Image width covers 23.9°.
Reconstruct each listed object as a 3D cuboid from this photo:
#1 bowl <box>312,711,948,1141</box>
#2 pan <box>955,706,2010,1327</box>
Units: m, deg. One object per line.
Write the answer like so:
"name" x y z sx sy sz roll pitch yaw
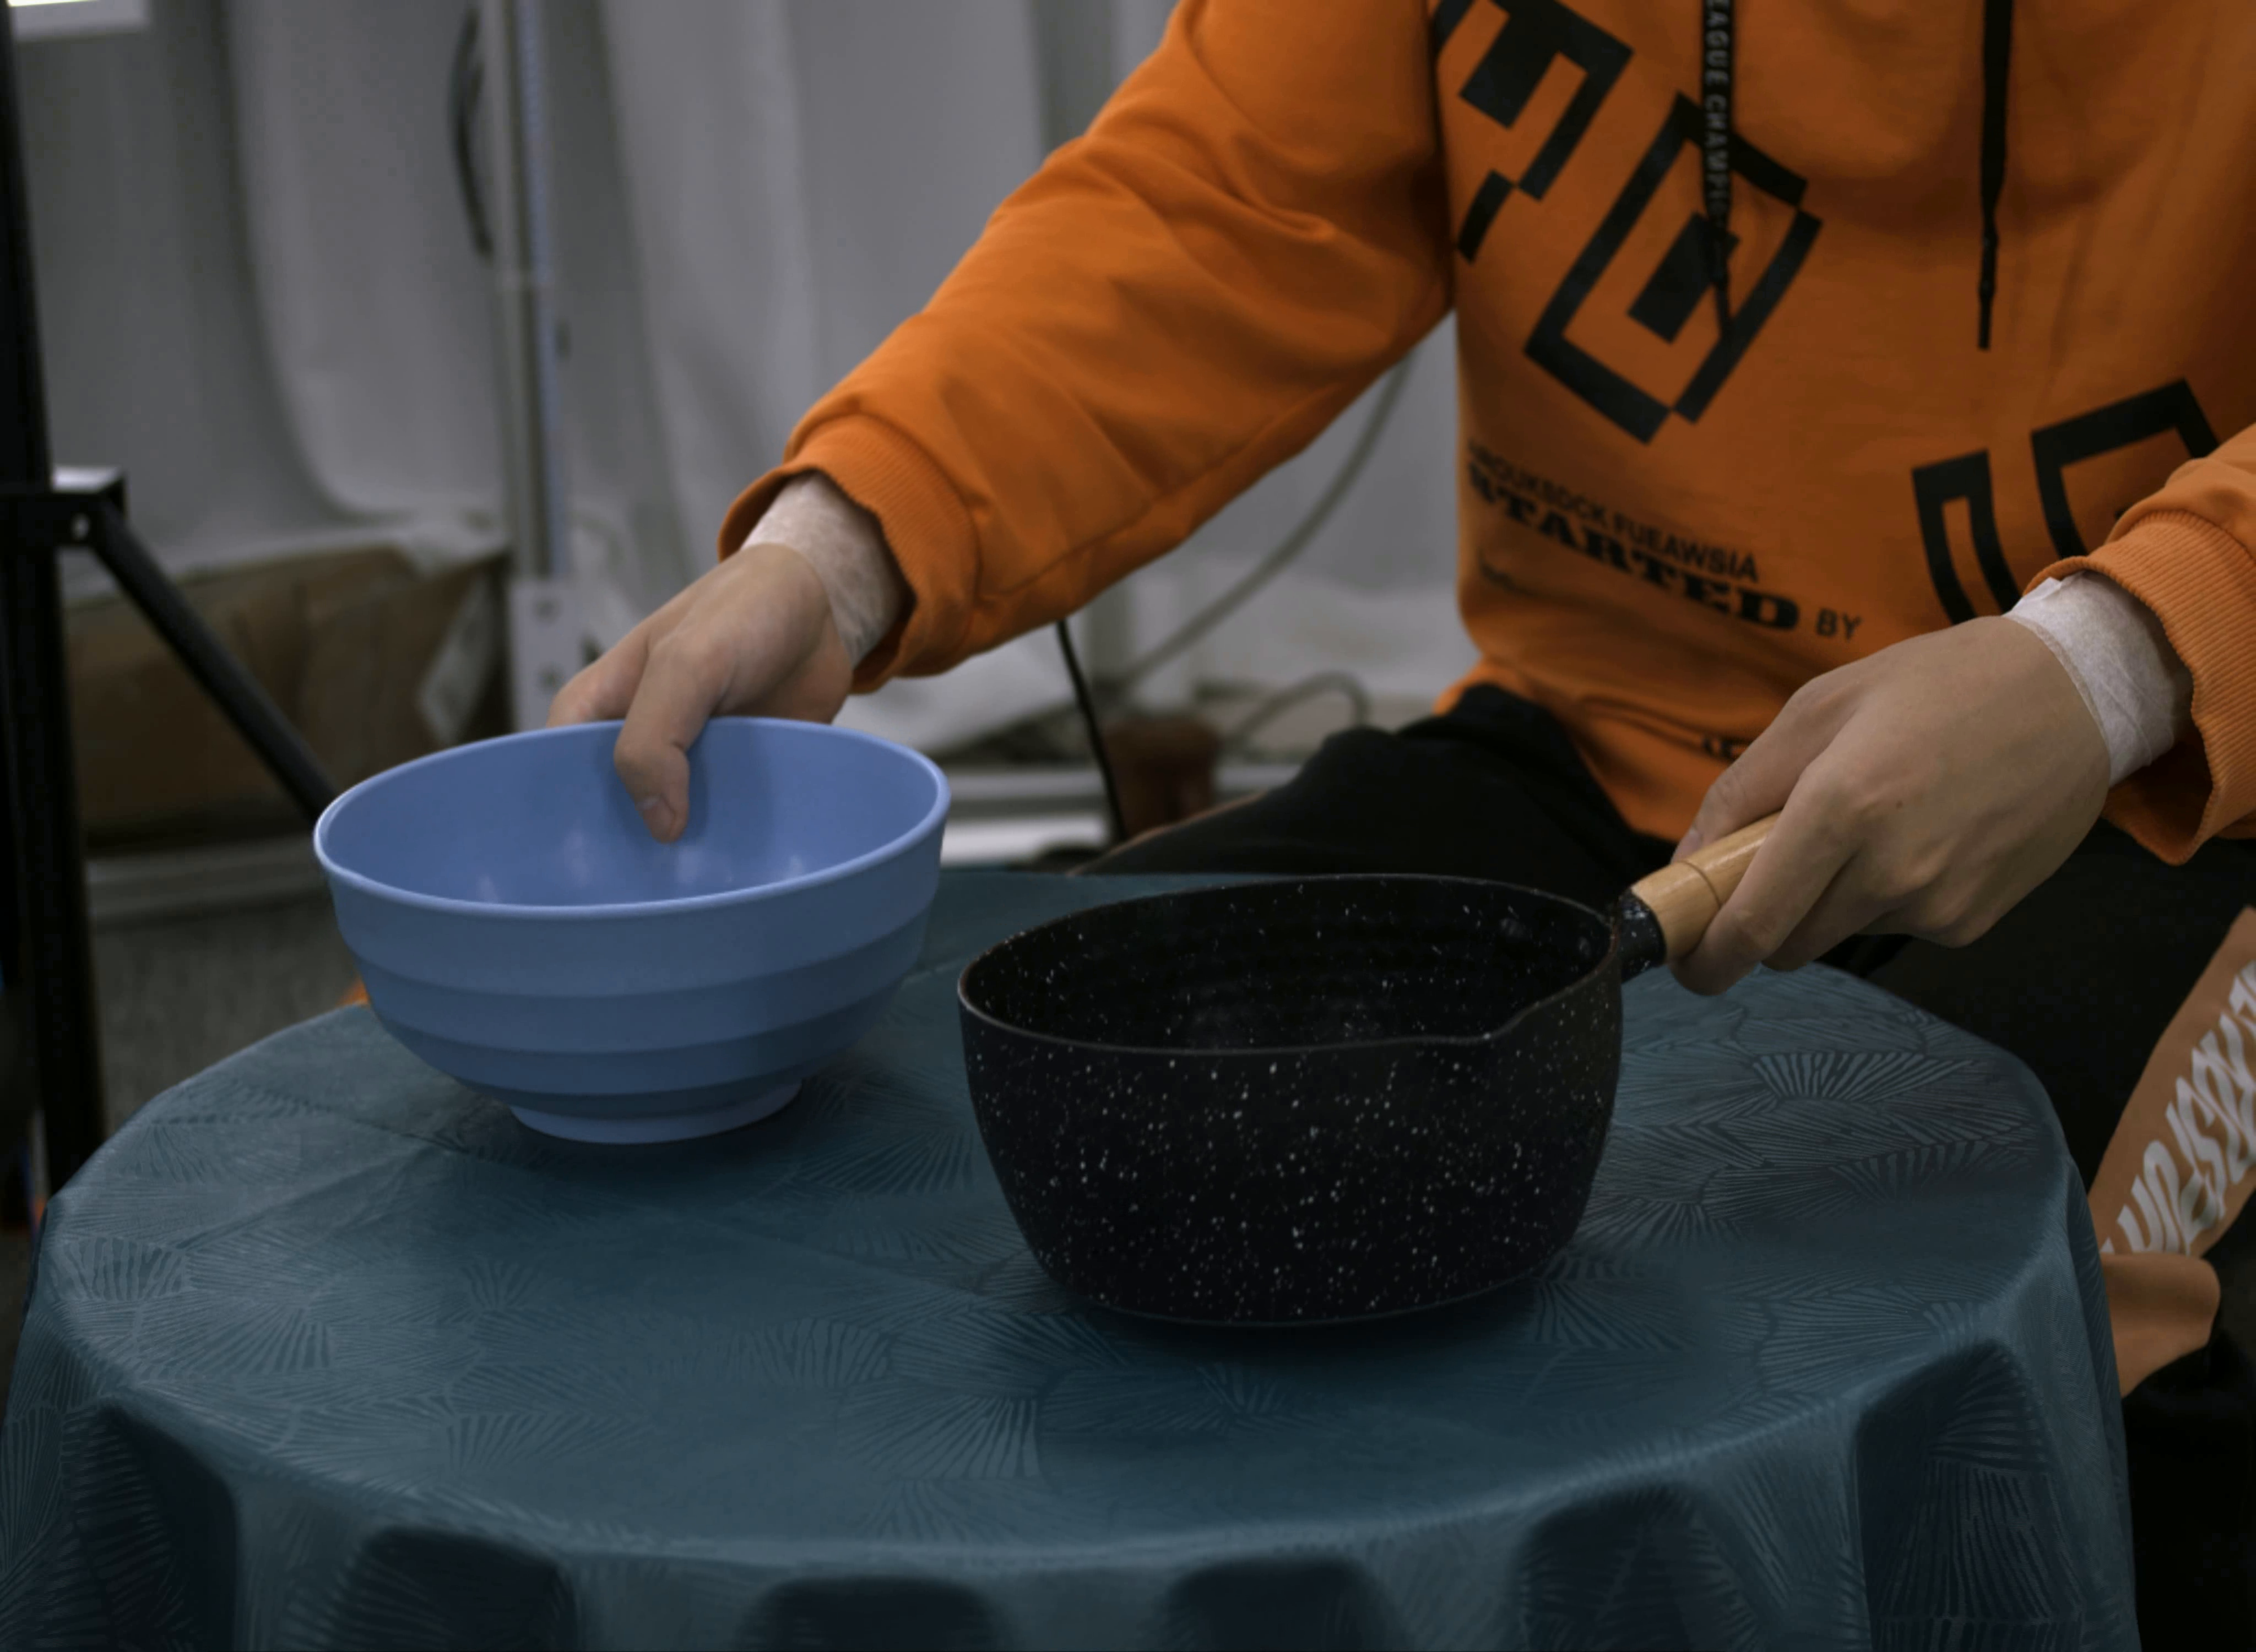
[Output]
"bowl" -0.150 0.037 1.651 0.195 0.095 0.197 -4 18 0
"pan" 0.114 0.050 1.506 0.335 0.108 0.212 -13 15 -28
